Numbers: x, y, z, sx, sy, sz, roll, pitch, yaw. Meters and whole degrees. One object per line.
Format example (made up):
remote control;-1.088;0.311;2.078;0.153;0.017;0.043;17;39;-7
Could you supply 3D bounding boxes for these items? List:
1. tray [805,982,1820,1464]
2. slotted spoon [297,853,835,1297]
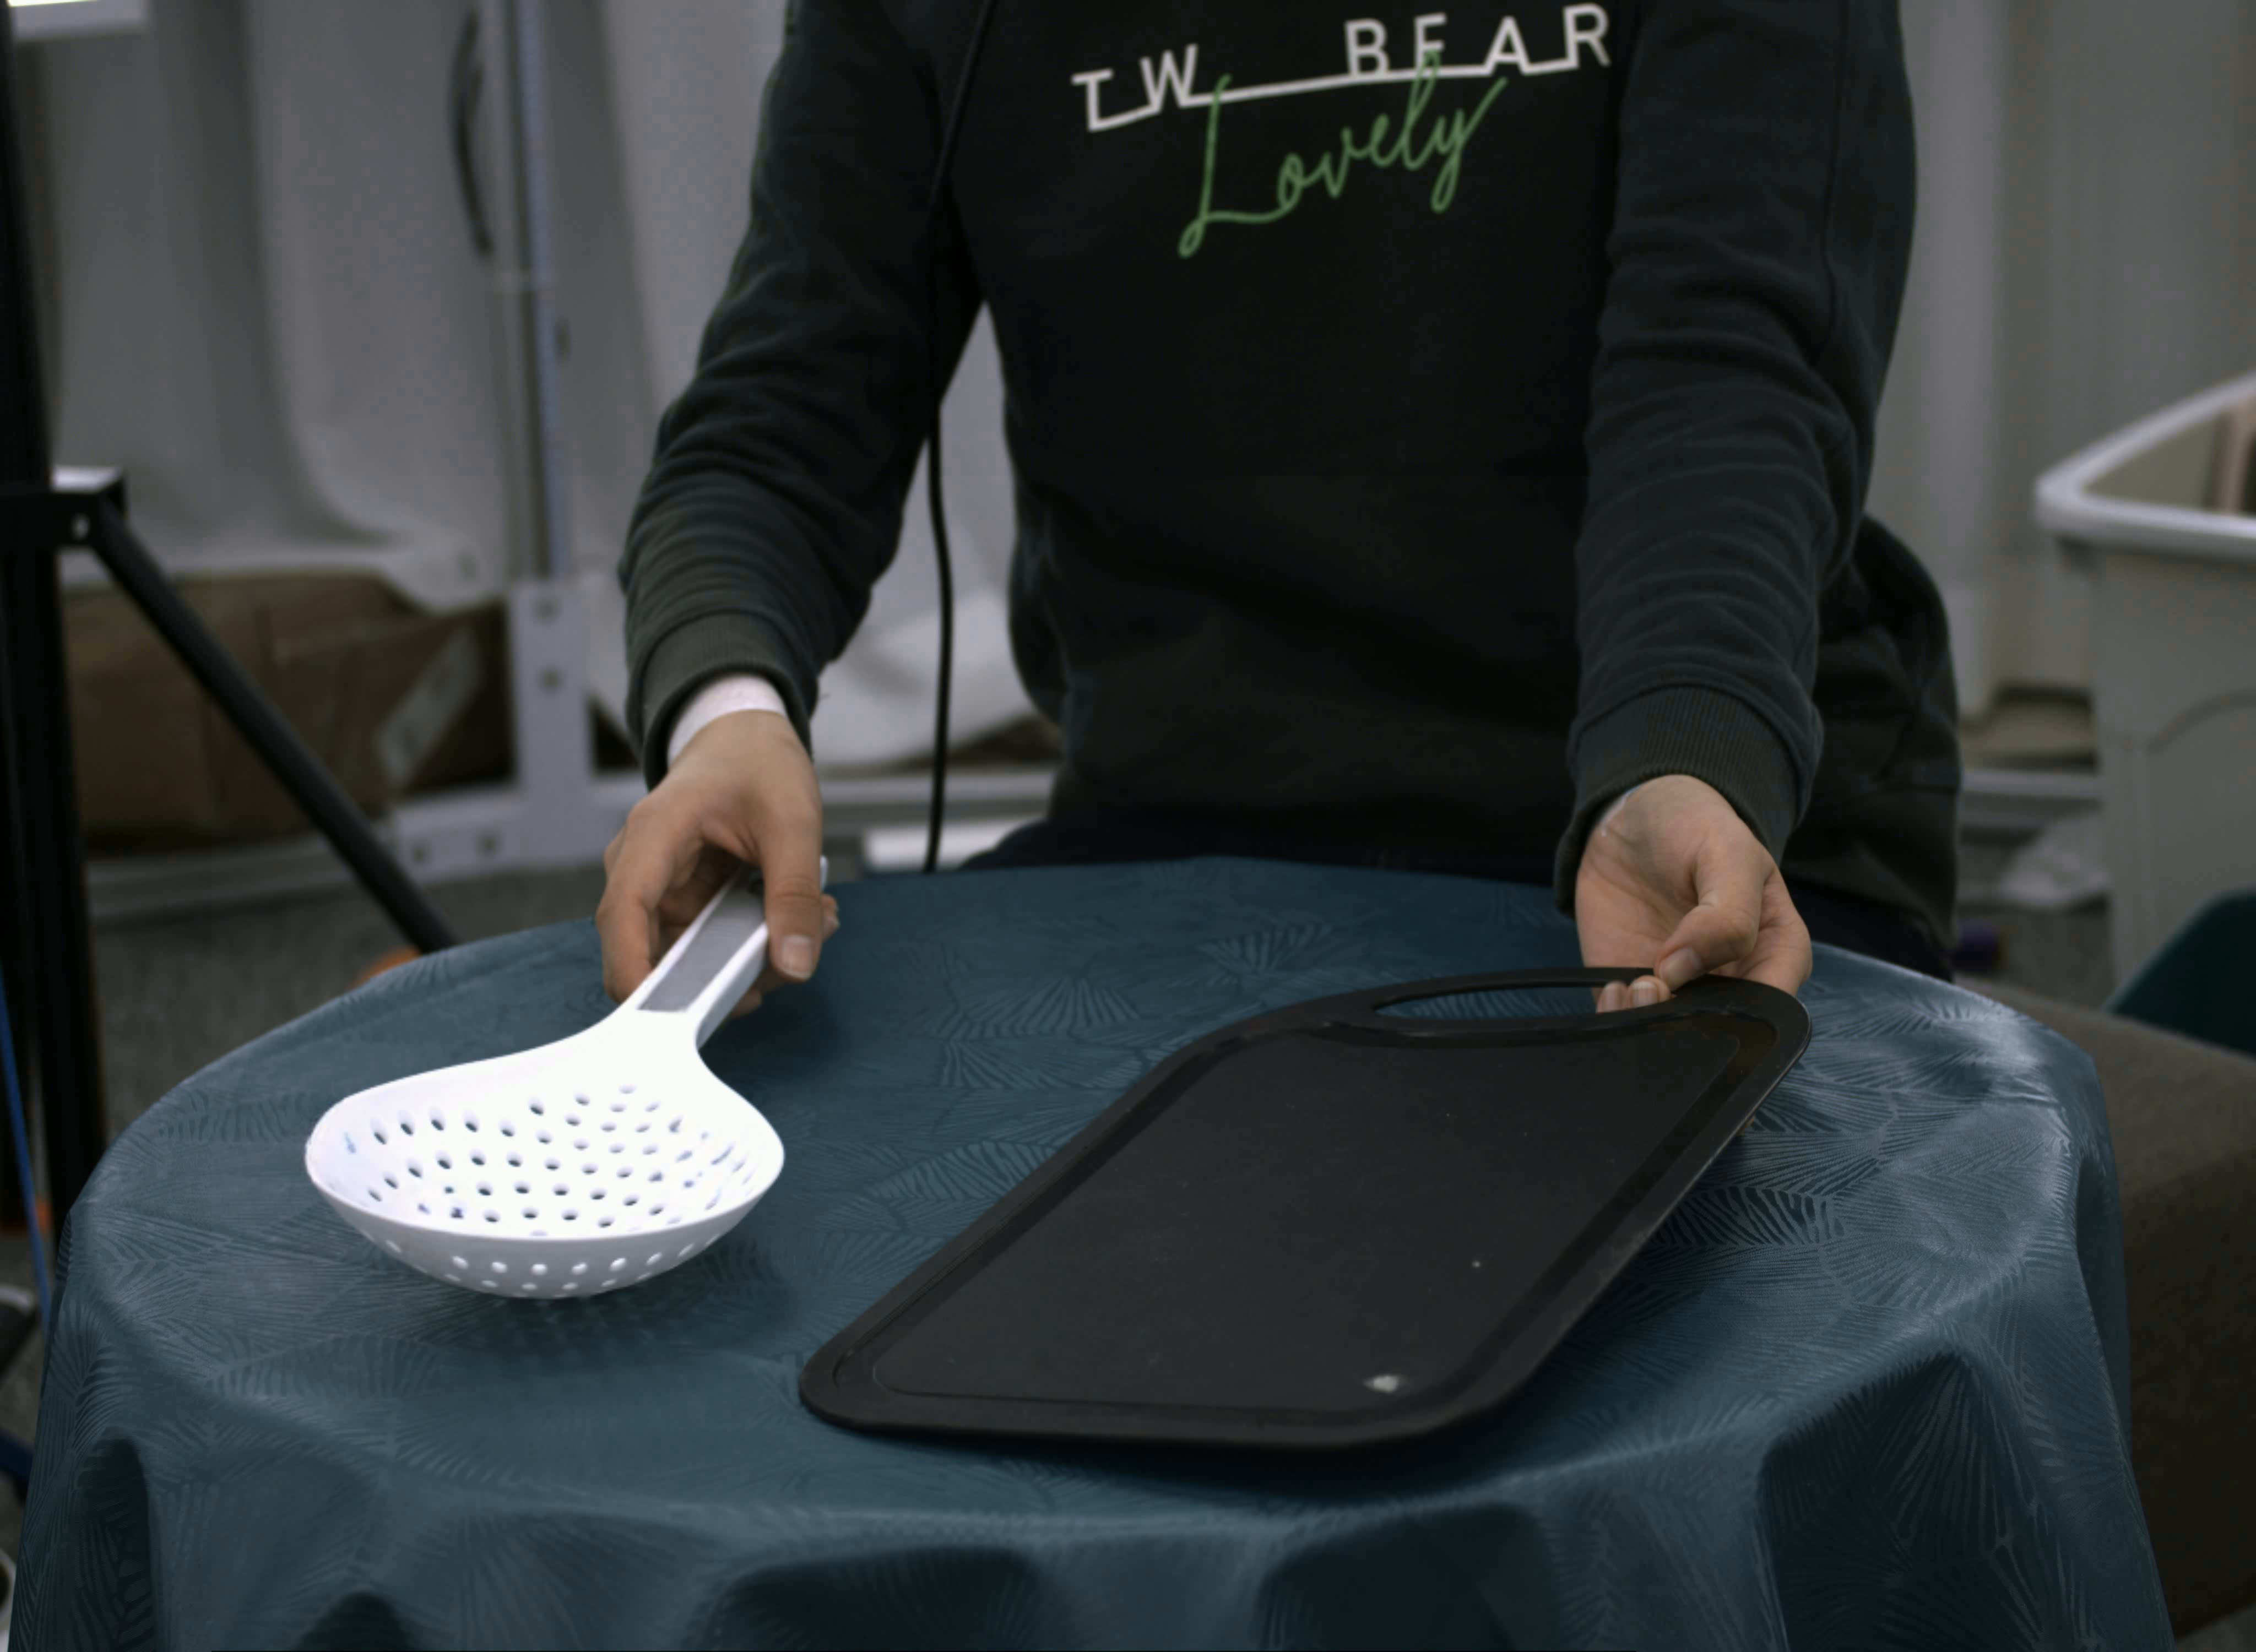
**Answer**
tray;0.060;0.102;1.482;0.214;0.010;0.321;0;20;29
slotted spoon;-0.145;0.066;1.603;0.136;0.046;0.348;7;23;10
